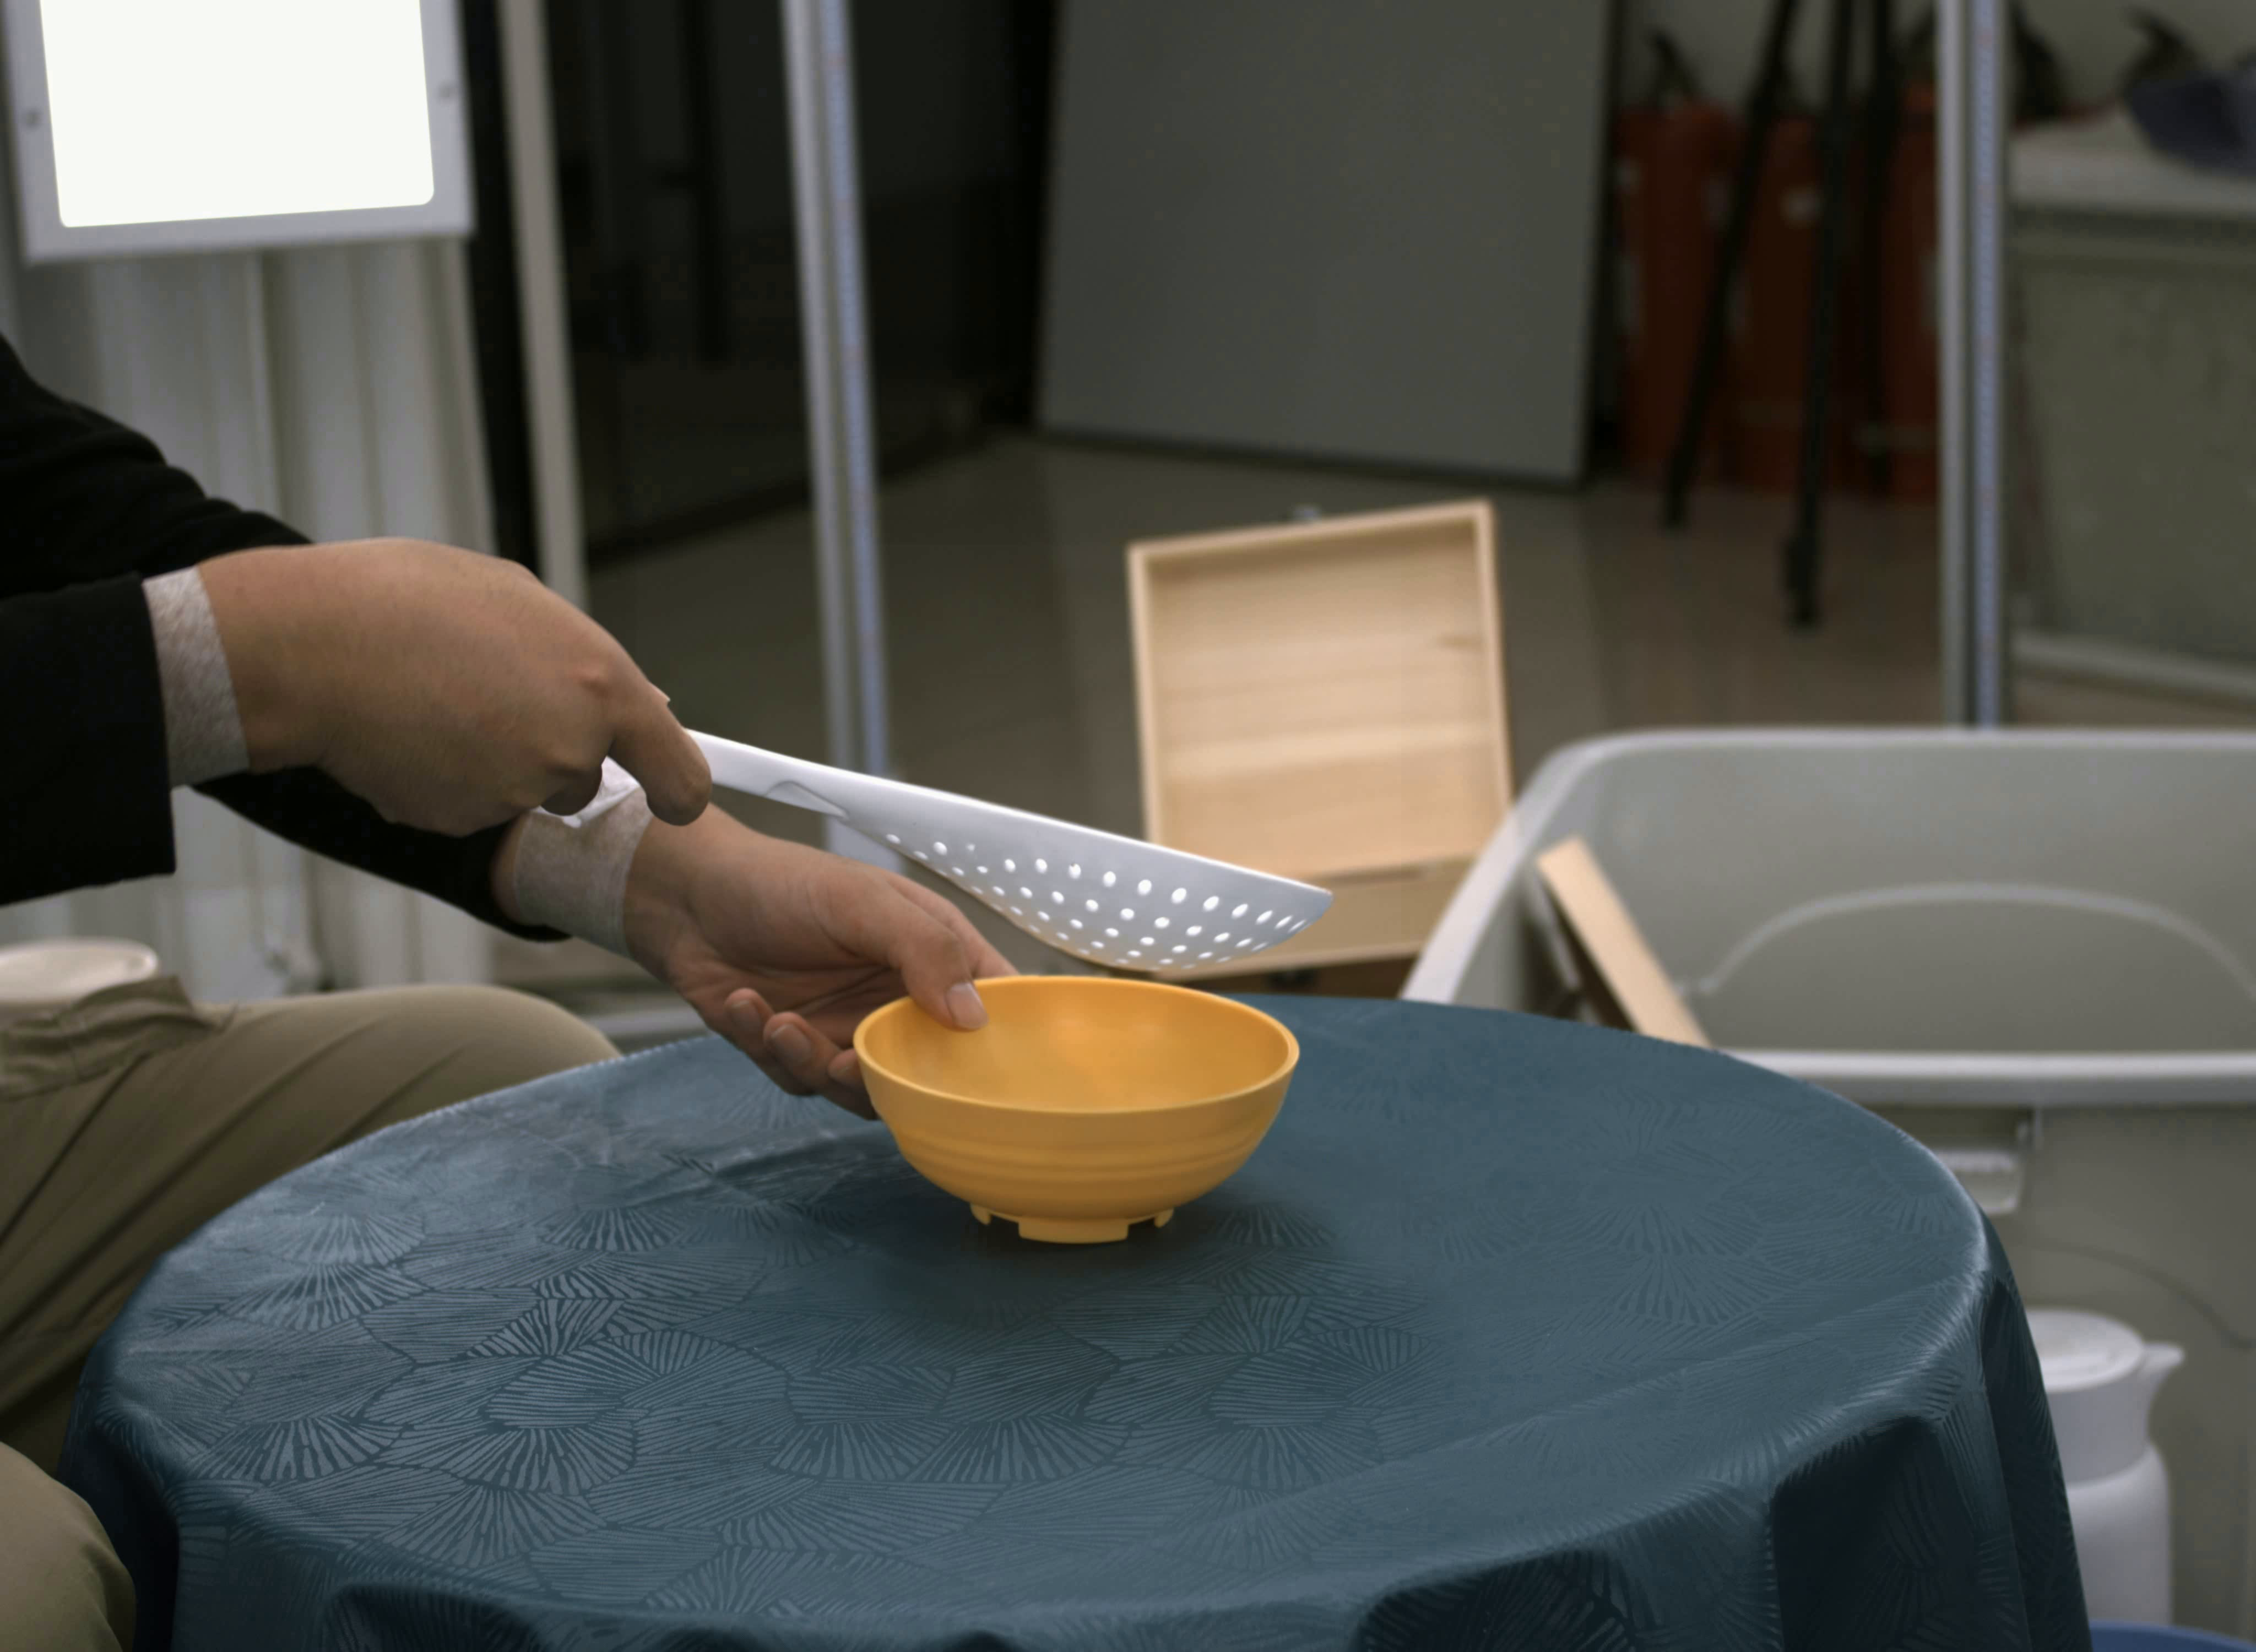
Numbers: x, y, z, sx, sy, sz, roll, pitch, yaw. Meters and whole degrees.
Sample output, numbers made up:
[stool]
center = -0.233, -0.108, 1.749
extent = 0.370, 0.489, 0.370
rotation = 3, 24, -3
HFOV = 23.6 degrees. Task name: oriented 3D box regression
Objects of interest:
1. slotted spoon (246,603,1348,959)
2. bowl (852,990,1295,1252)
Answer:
[slotted spoon]
center = -0.098, -0.018, 1.643
extent = 0.343, 0.046, 0.137
rotation = 19, -1, -15
[bowl]
center = -0.018, 0.099, 1.738
extent = 0.143, 0.061, 0.145
rotation = 1, 13, -1
